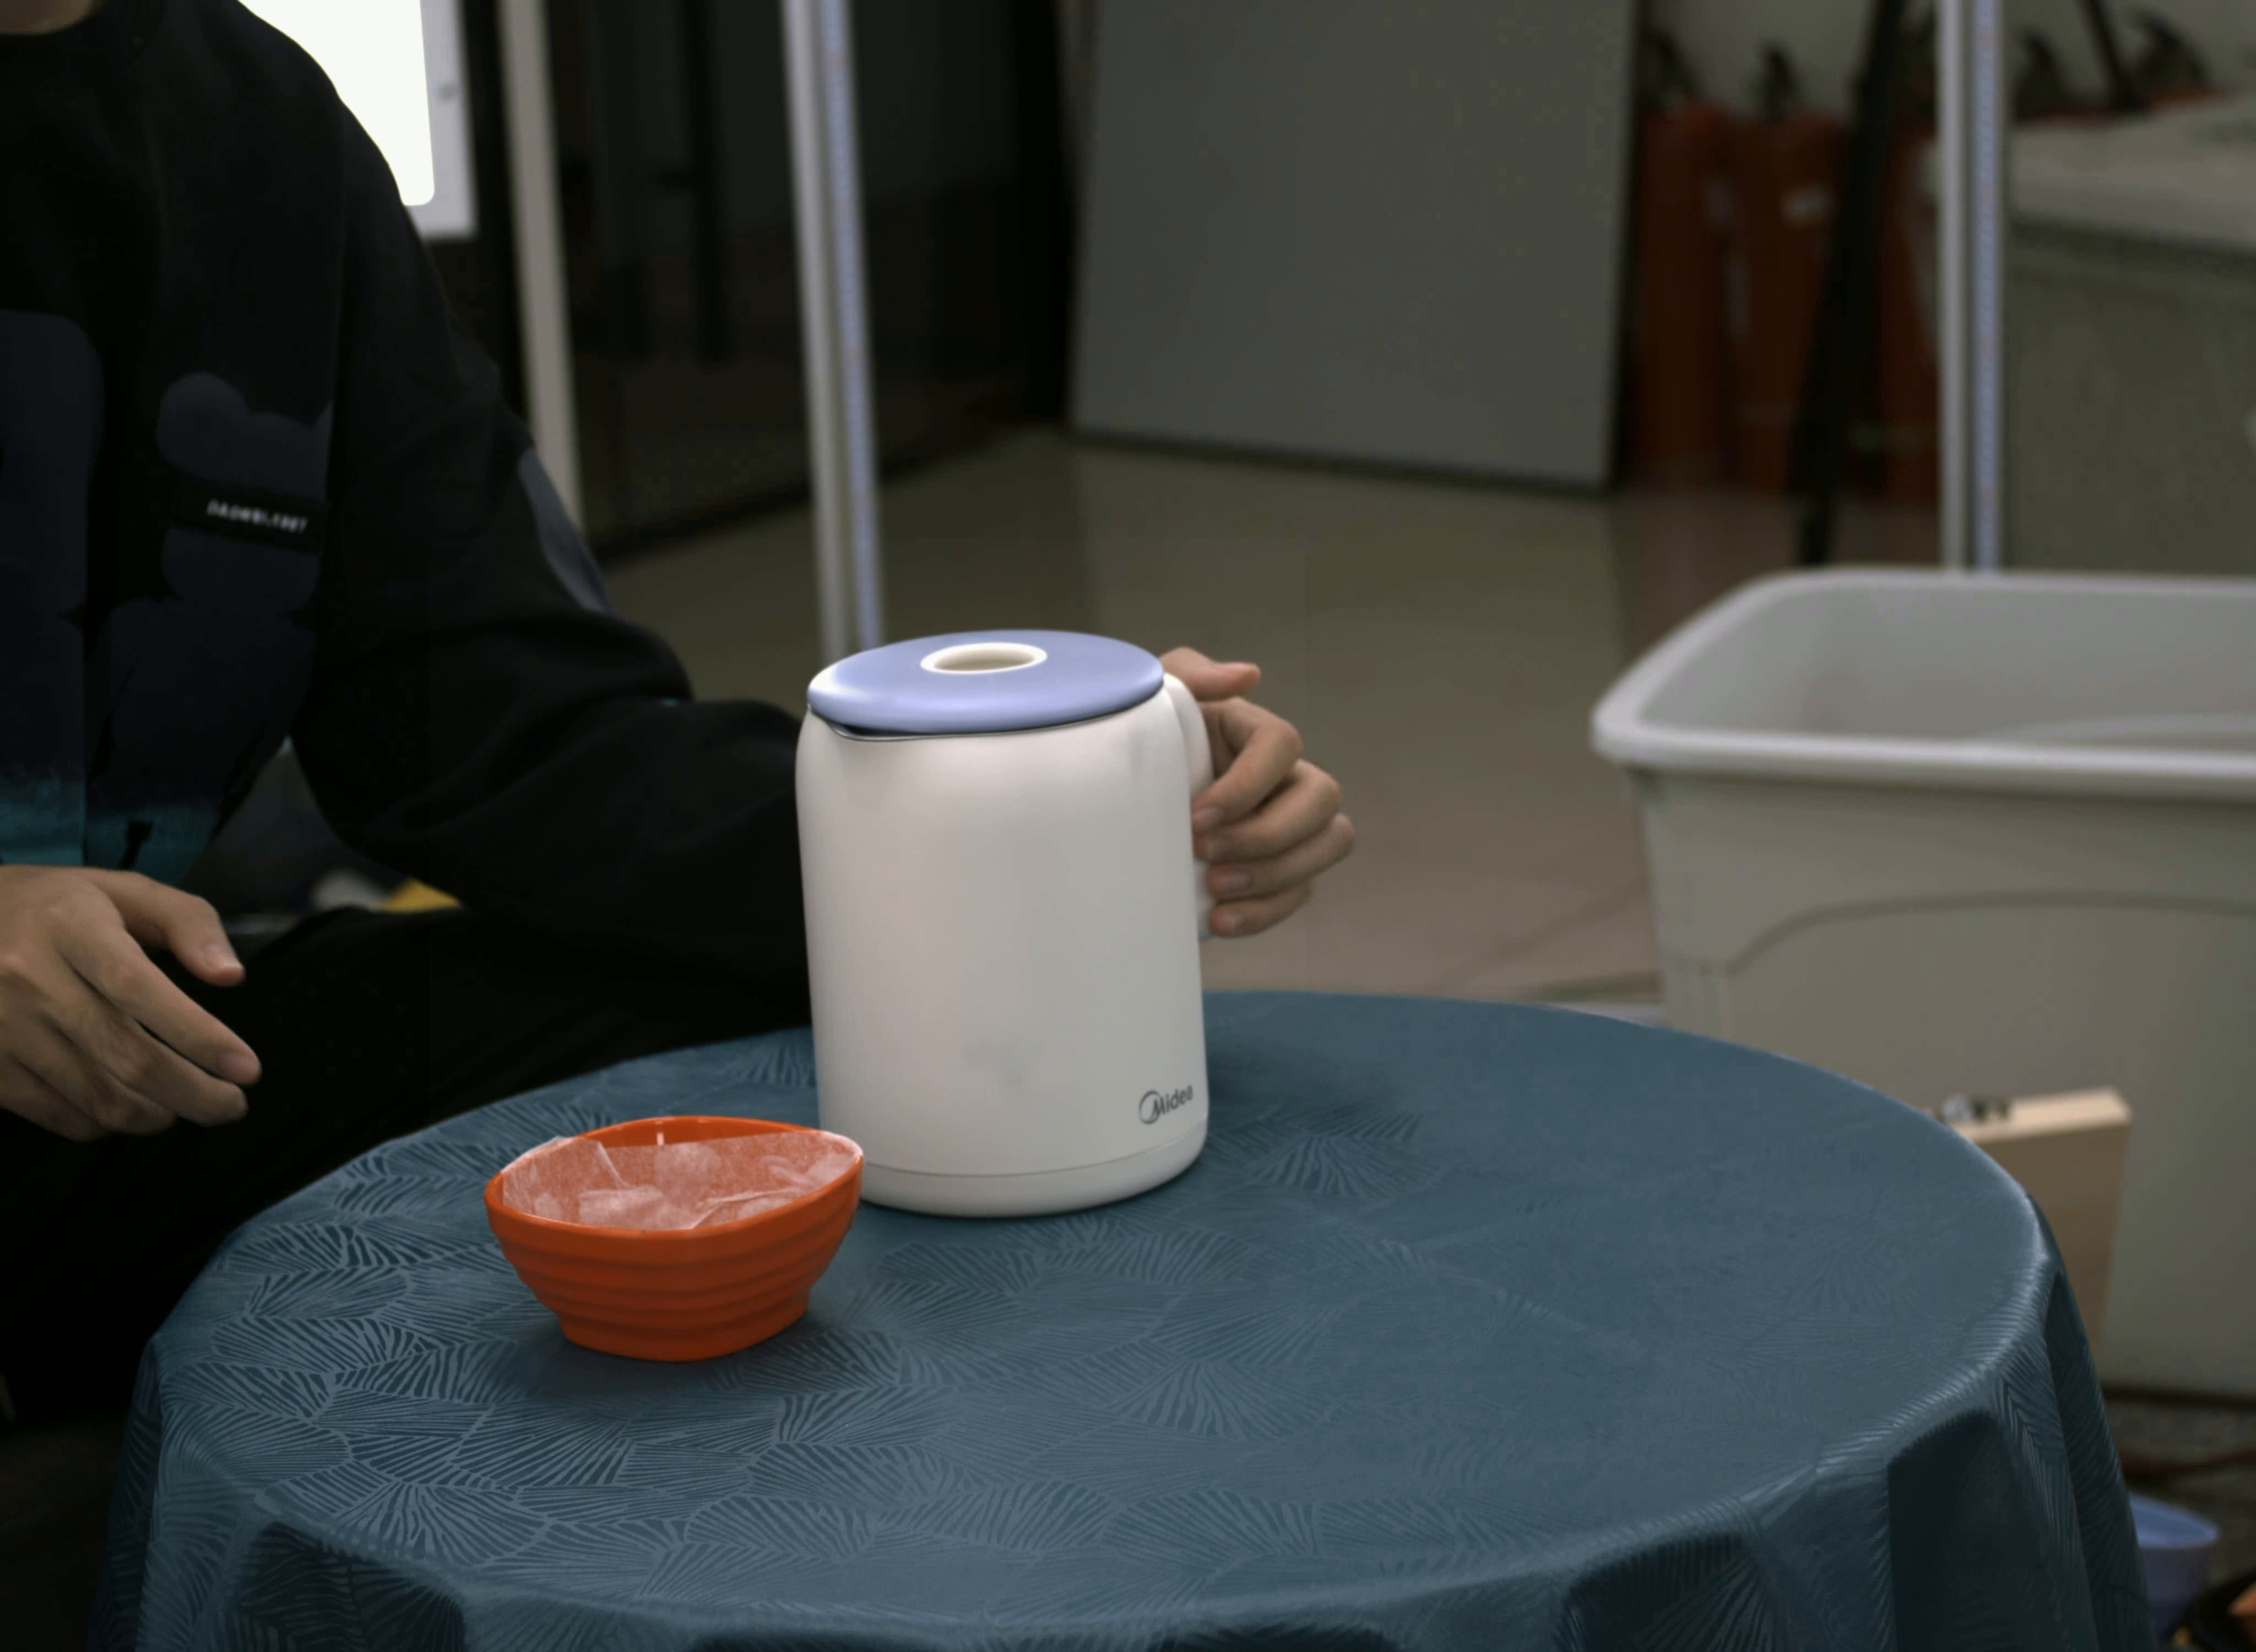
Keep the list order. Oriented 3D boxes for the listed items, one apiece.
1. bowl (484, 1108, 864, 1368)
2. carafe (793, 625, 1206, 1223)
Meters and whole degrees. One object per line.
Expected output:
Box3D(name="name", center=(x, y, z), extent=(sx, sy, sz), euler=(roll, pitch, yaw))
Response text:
Box3D(name="bowl", center=(-0.138, 0.129, 1.667), extent=(0.117, 0.052, 0.119), euler=(-3, 16, 0))
Box3D(name="carafe", center=(-0.030, 0.027, 1.807), extent=(0.133, 0.184, 0.187), euler=(7, 15, 35))
